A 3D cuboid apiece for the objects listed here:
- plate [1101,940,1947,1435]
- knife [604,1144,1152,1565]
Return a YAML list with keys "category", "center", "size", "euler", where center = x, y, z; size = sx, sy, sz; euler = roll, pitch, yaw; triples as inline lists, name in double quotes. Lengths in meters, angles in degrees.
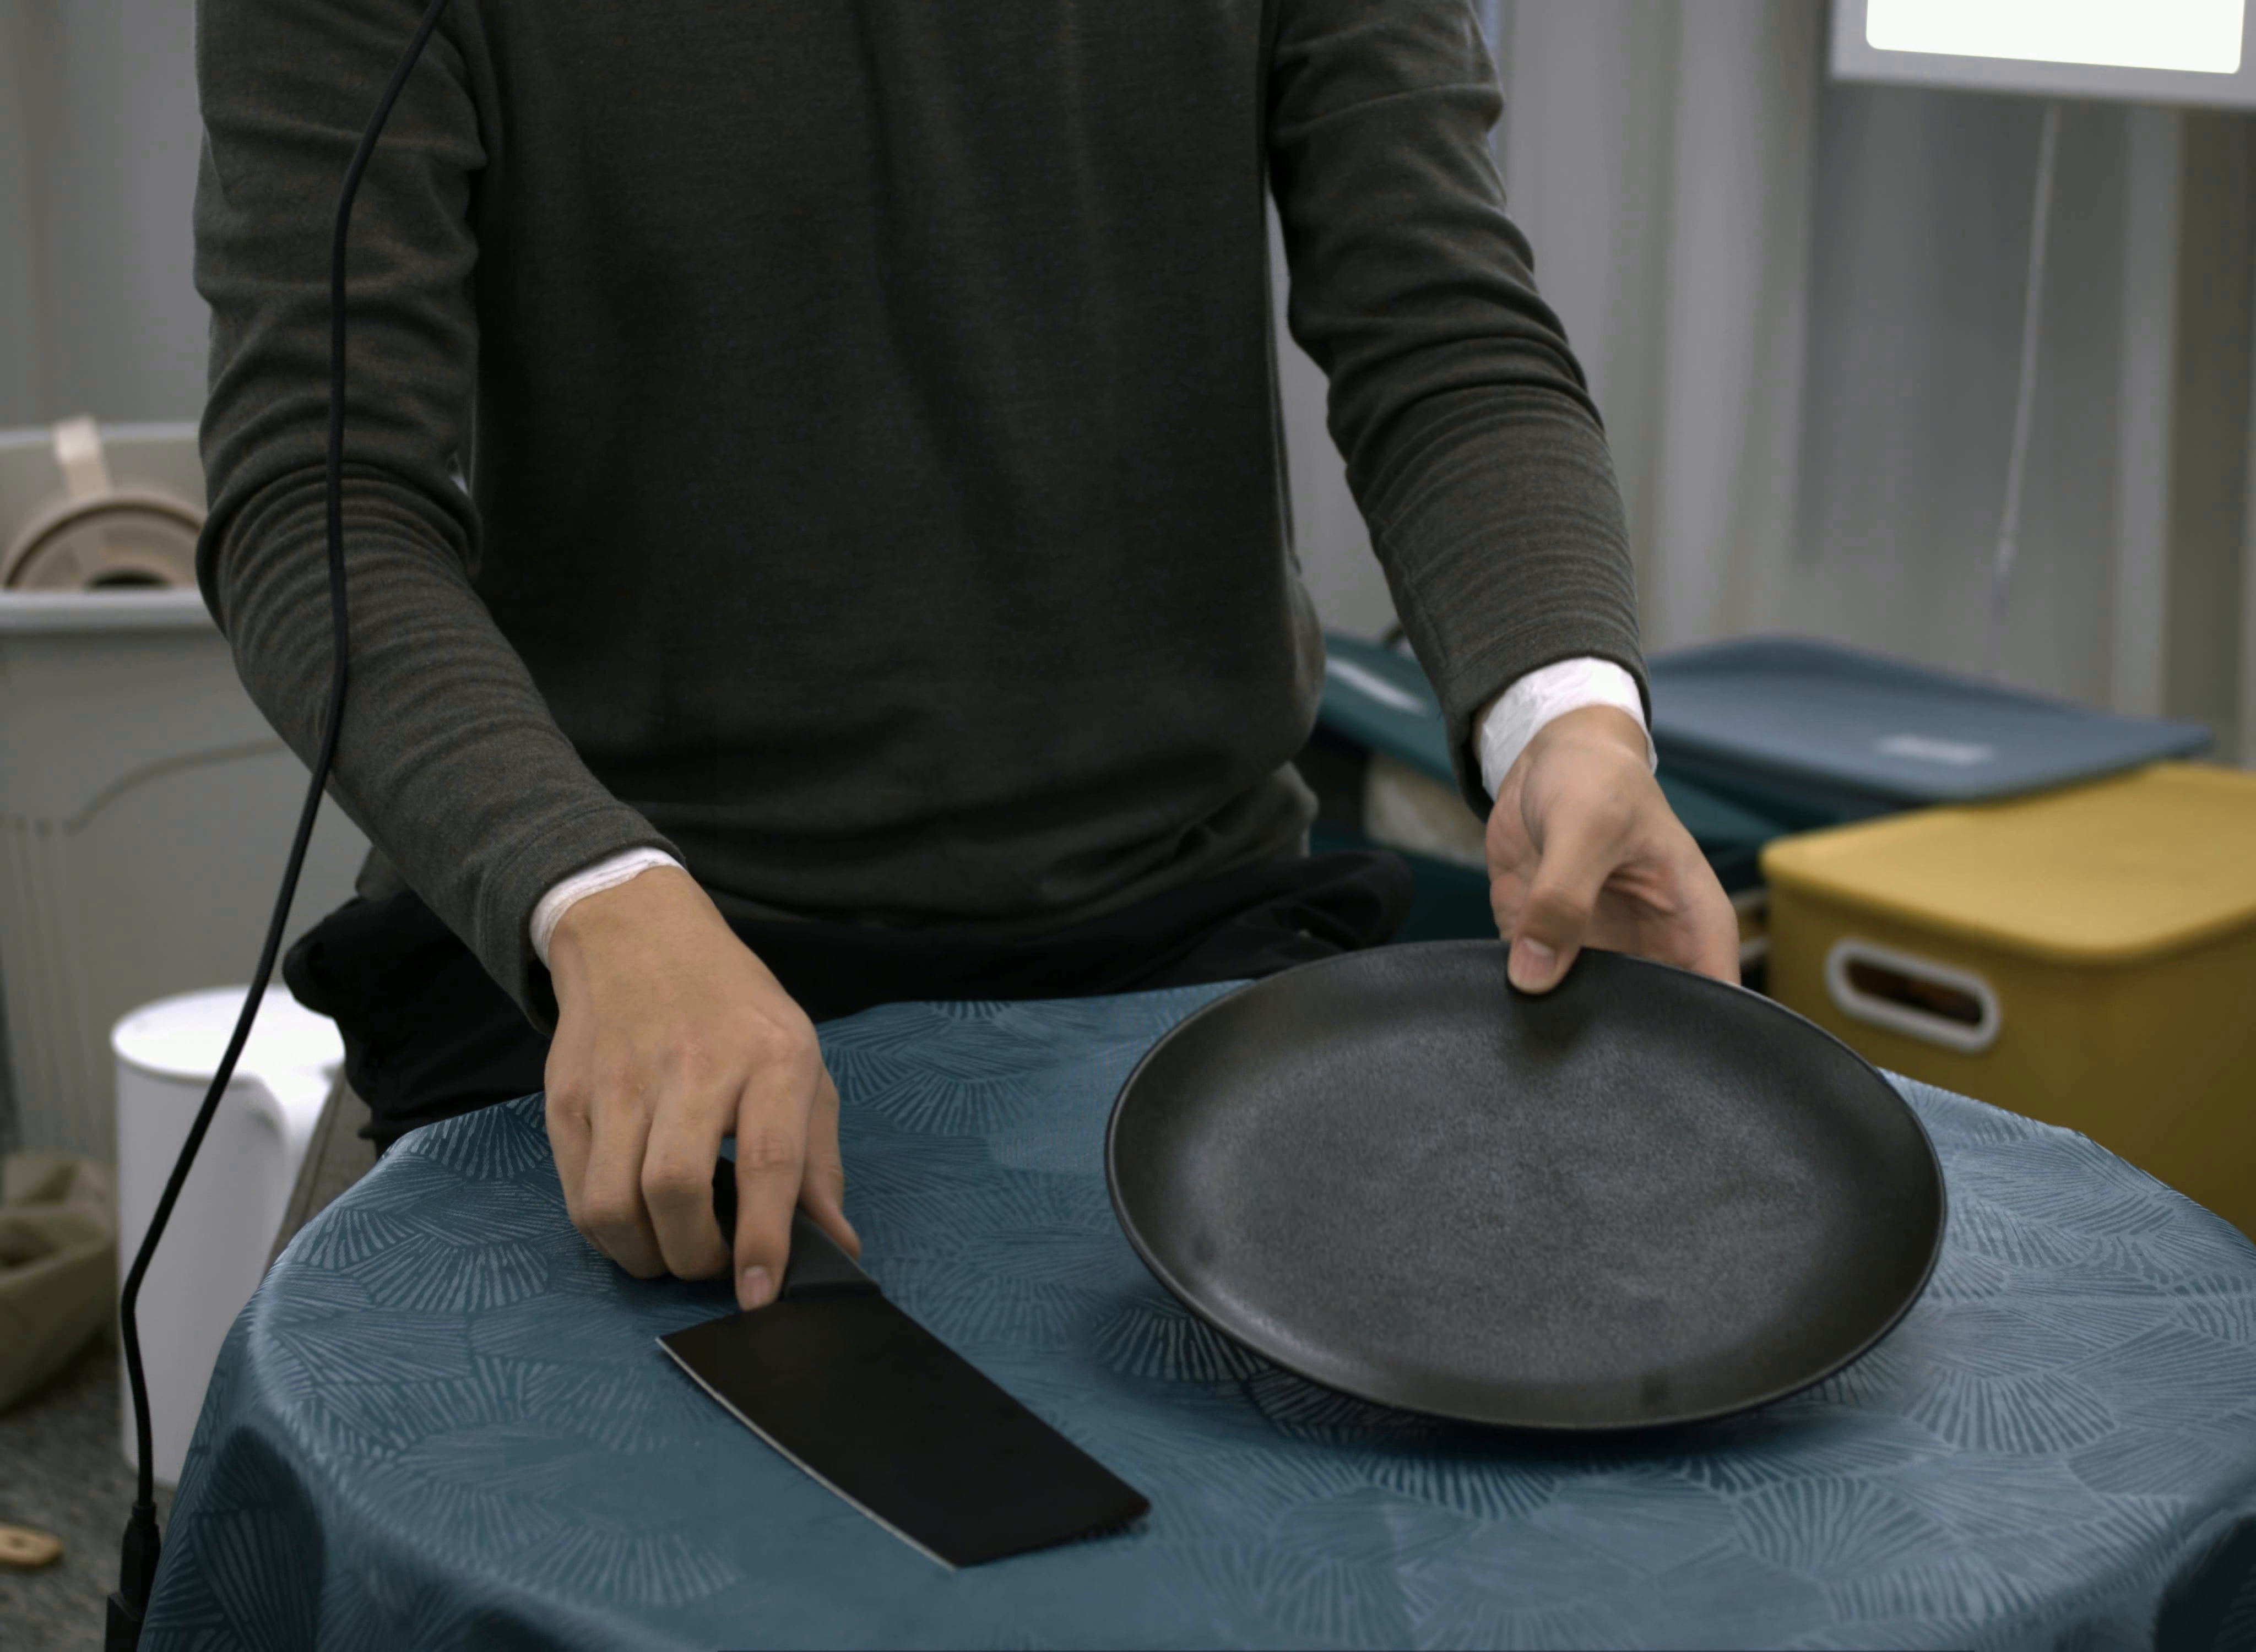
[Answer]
- category: "plate"
  center: [0.113, 0.107, 1.516]
  size: [0.243, 0.024, 0.242]
  euler: [2, 32, -1]
- category: "knife"
  center: [-0.087, 0.145, 1.478]
  size: [0.081, 0.021, 0.298]
  euler: [-10, 20, -22]
